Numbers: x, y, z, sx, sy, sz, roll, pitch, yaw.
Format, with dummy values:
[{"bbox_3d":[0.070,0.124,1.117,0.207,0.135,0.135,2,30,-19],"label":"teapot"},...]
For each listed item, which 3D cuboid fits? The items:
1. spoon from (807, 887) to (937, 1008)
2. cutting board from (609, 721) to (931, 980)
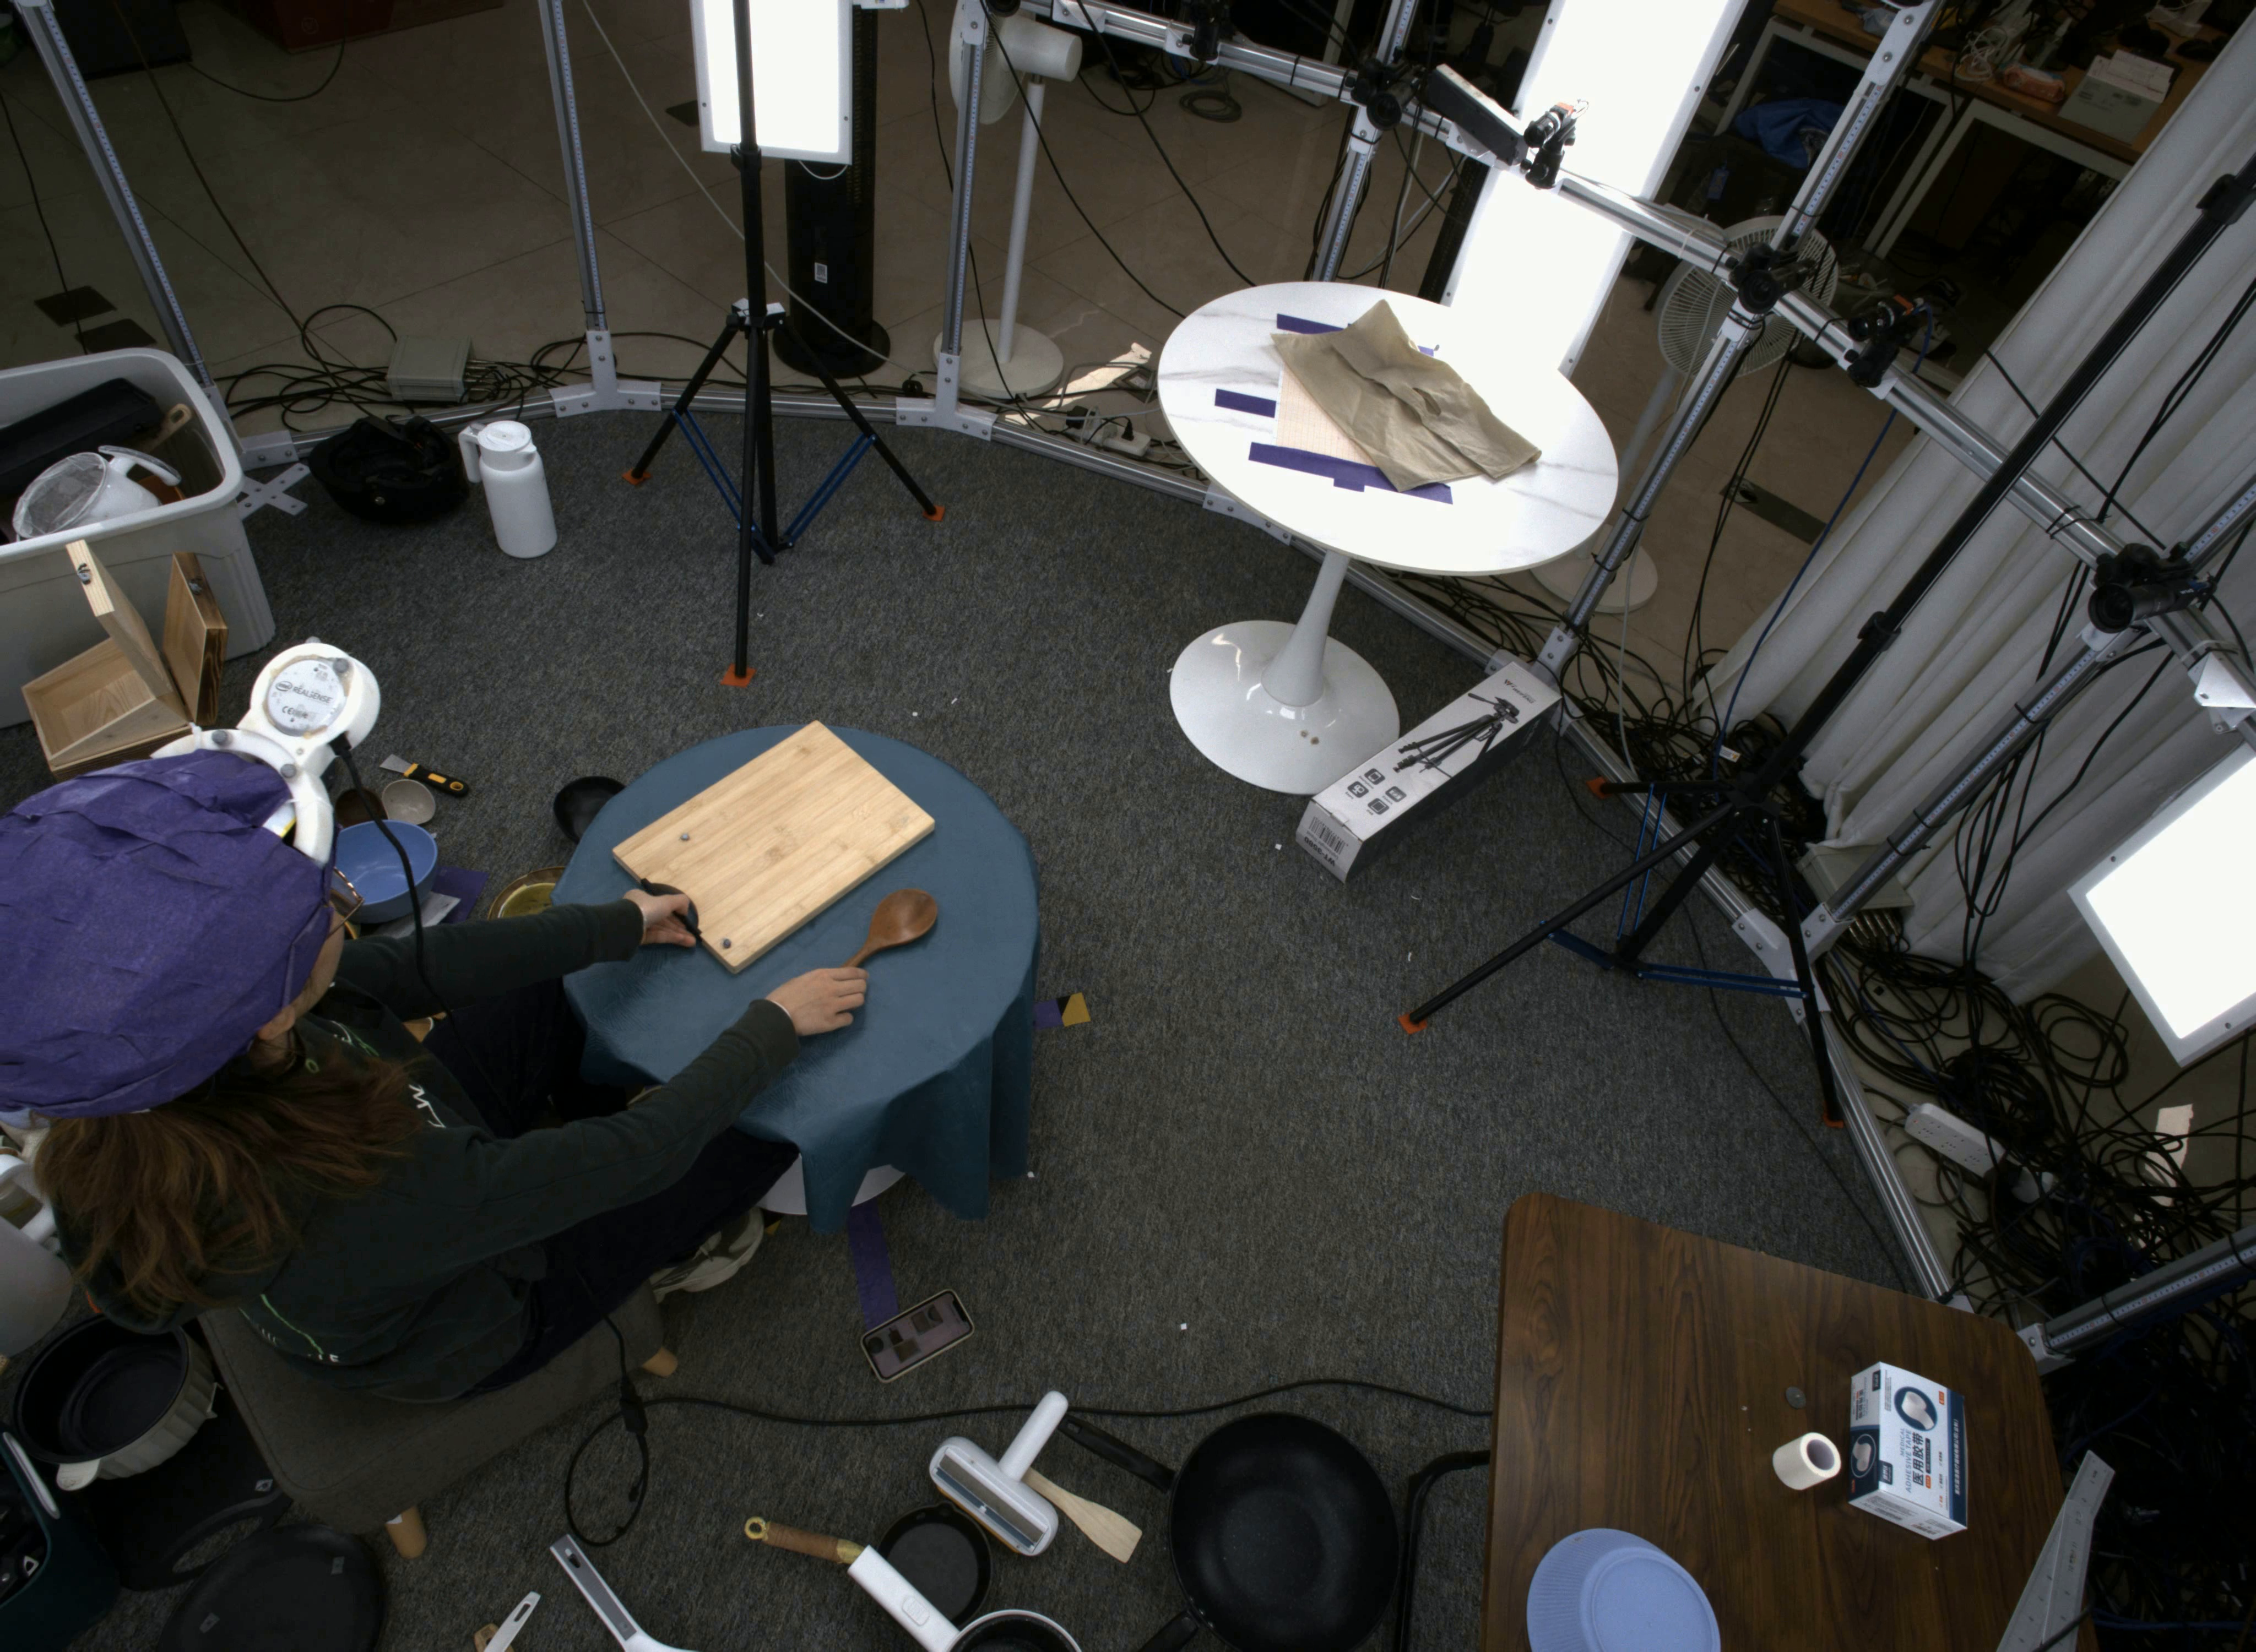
[{"bbox_3d":[-0.323,0.151,1.631,0.074,0.017,0.215,36,53,11],"label":"spoon"},{"bbox_3d":[-0.463,0.020,1.694,0.245,0.024,0.349,38,54,15],"label":"cutting board"}]
